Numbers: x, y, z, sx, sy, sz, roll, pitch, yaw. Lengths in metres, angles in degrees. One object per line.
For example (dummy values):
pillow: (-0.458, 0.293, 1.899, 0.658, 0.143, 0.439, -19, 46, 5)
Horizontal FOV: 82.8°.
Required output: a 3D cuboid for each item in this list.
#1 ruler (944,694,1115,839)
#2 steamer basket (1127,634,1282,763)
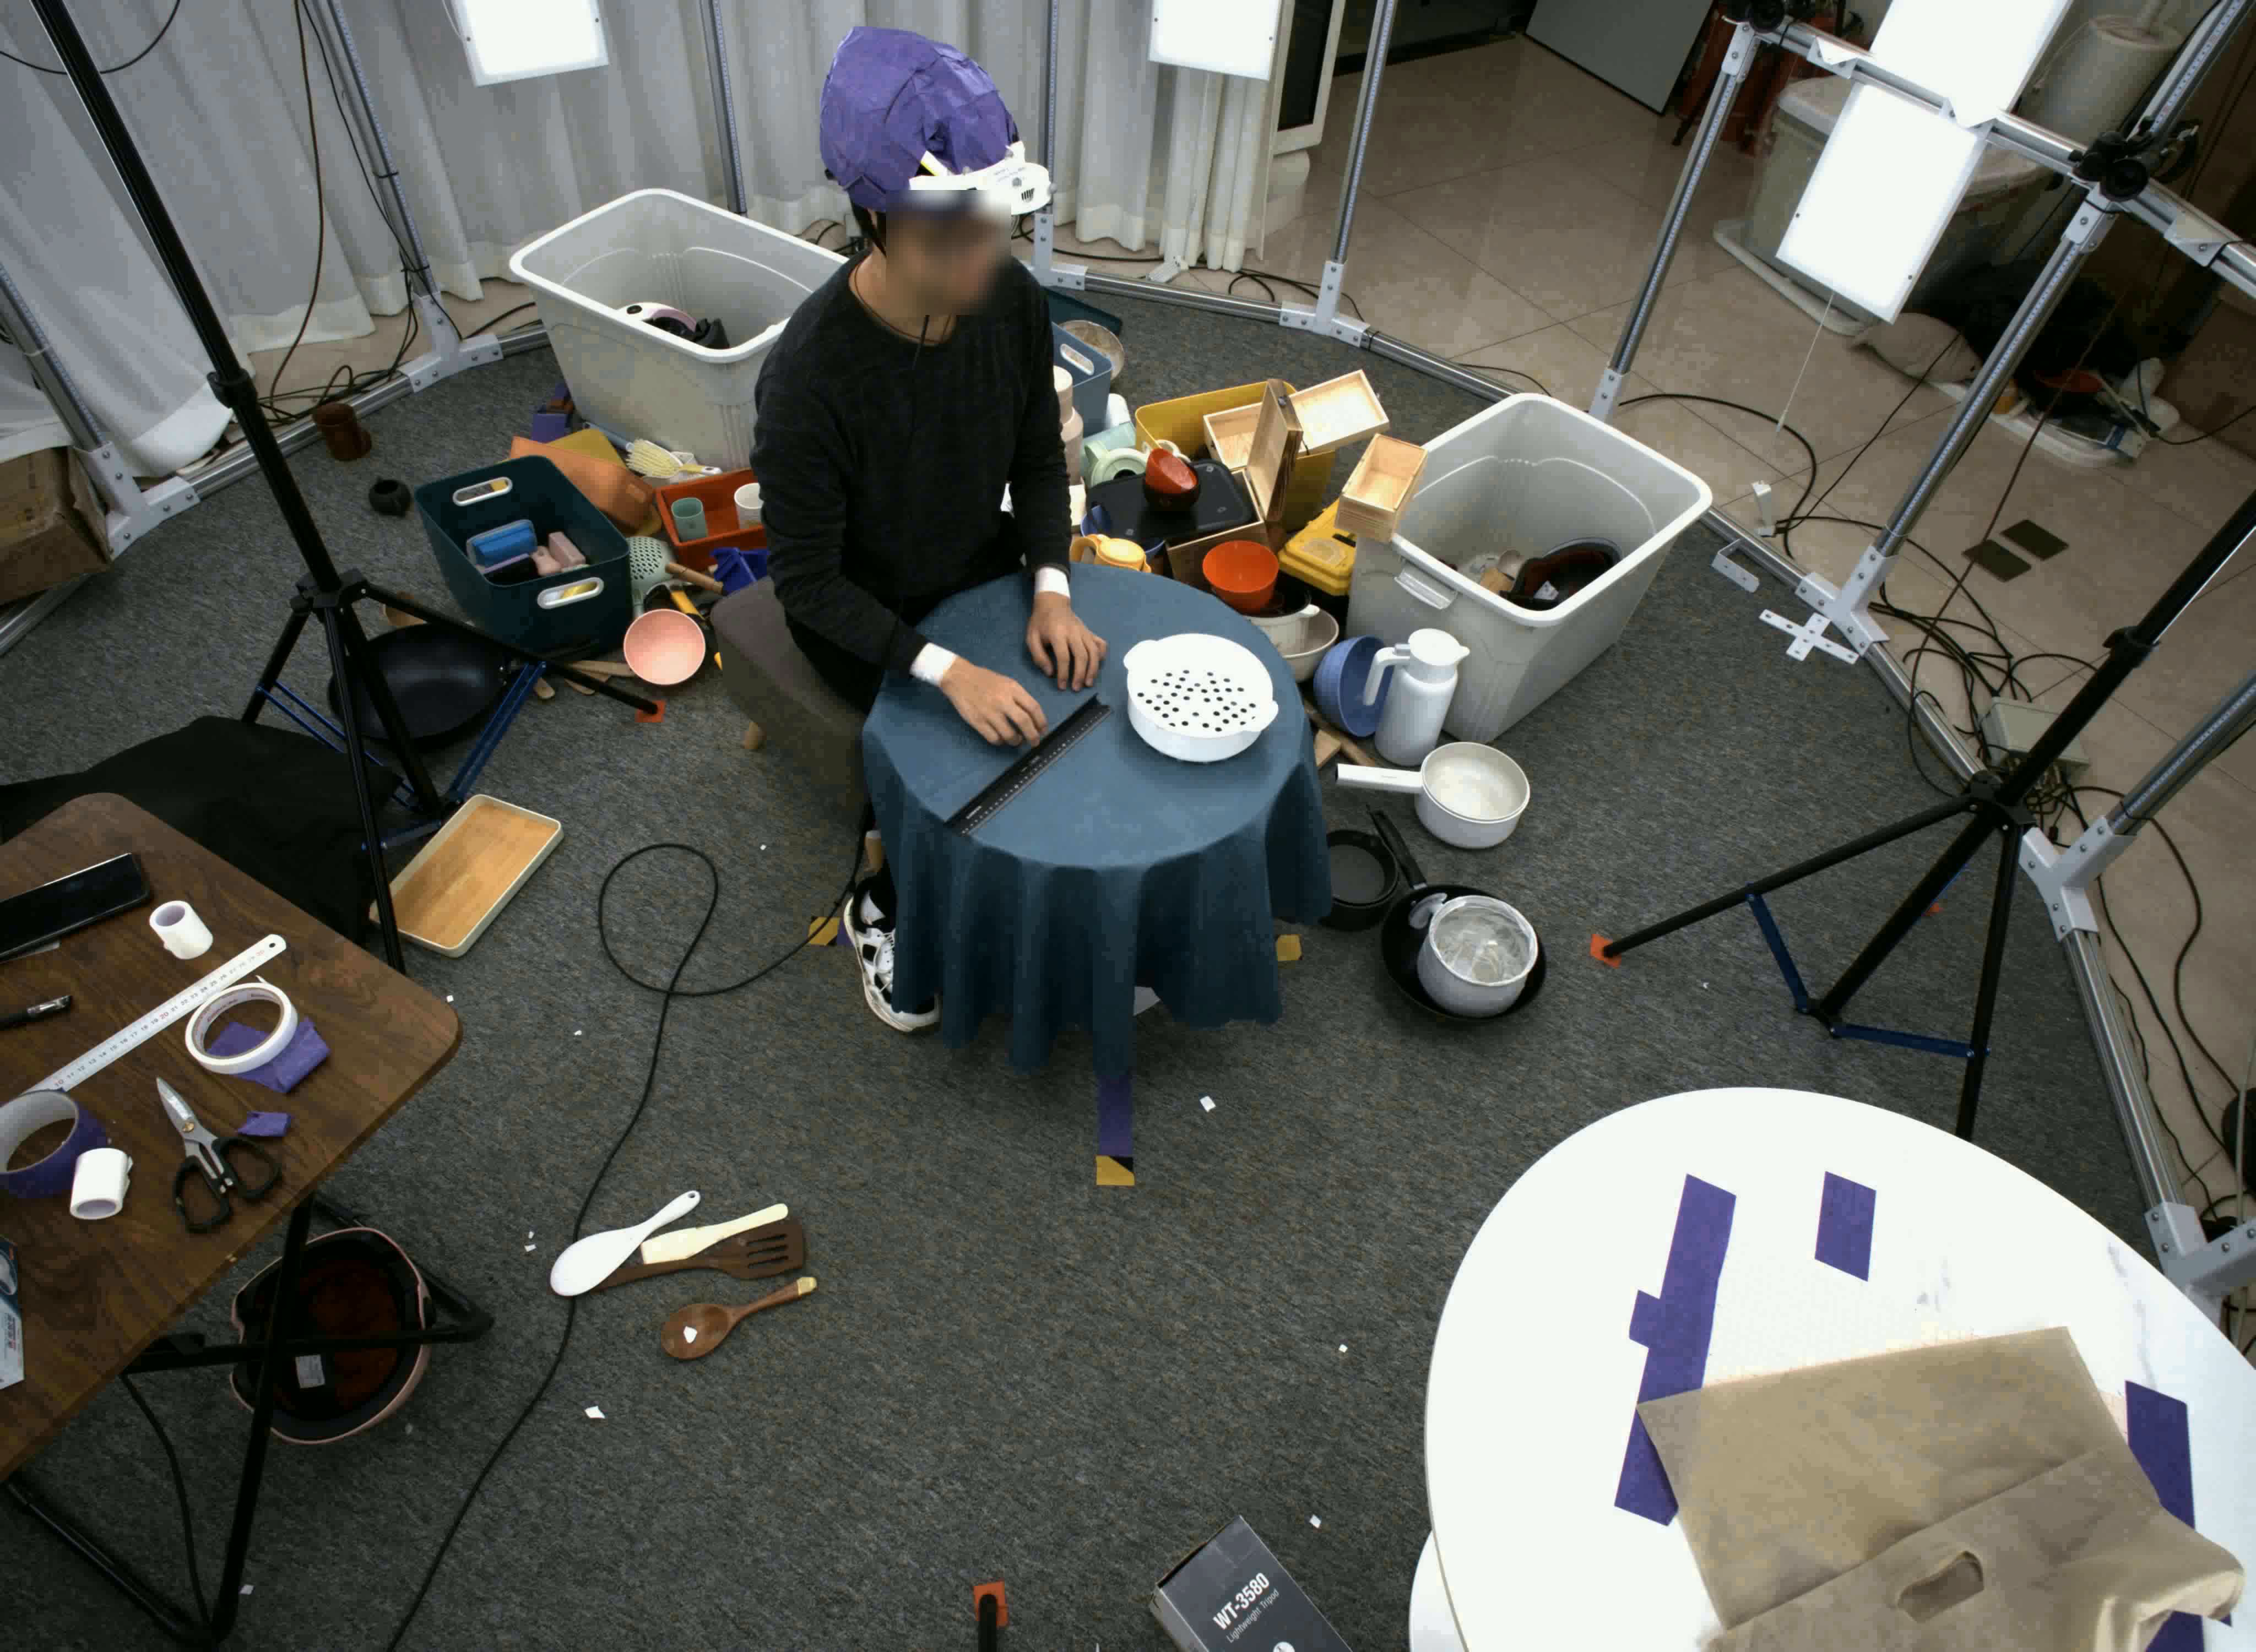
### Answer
ruler: (-0.127, -0.086, 1.725, 0.040, 0.017, 0.316, 34, 55, 19)
steamer basket: (0.102, -0.176, 1.785, 0.233, 0.067, 0.205, 30, 54, 18)
